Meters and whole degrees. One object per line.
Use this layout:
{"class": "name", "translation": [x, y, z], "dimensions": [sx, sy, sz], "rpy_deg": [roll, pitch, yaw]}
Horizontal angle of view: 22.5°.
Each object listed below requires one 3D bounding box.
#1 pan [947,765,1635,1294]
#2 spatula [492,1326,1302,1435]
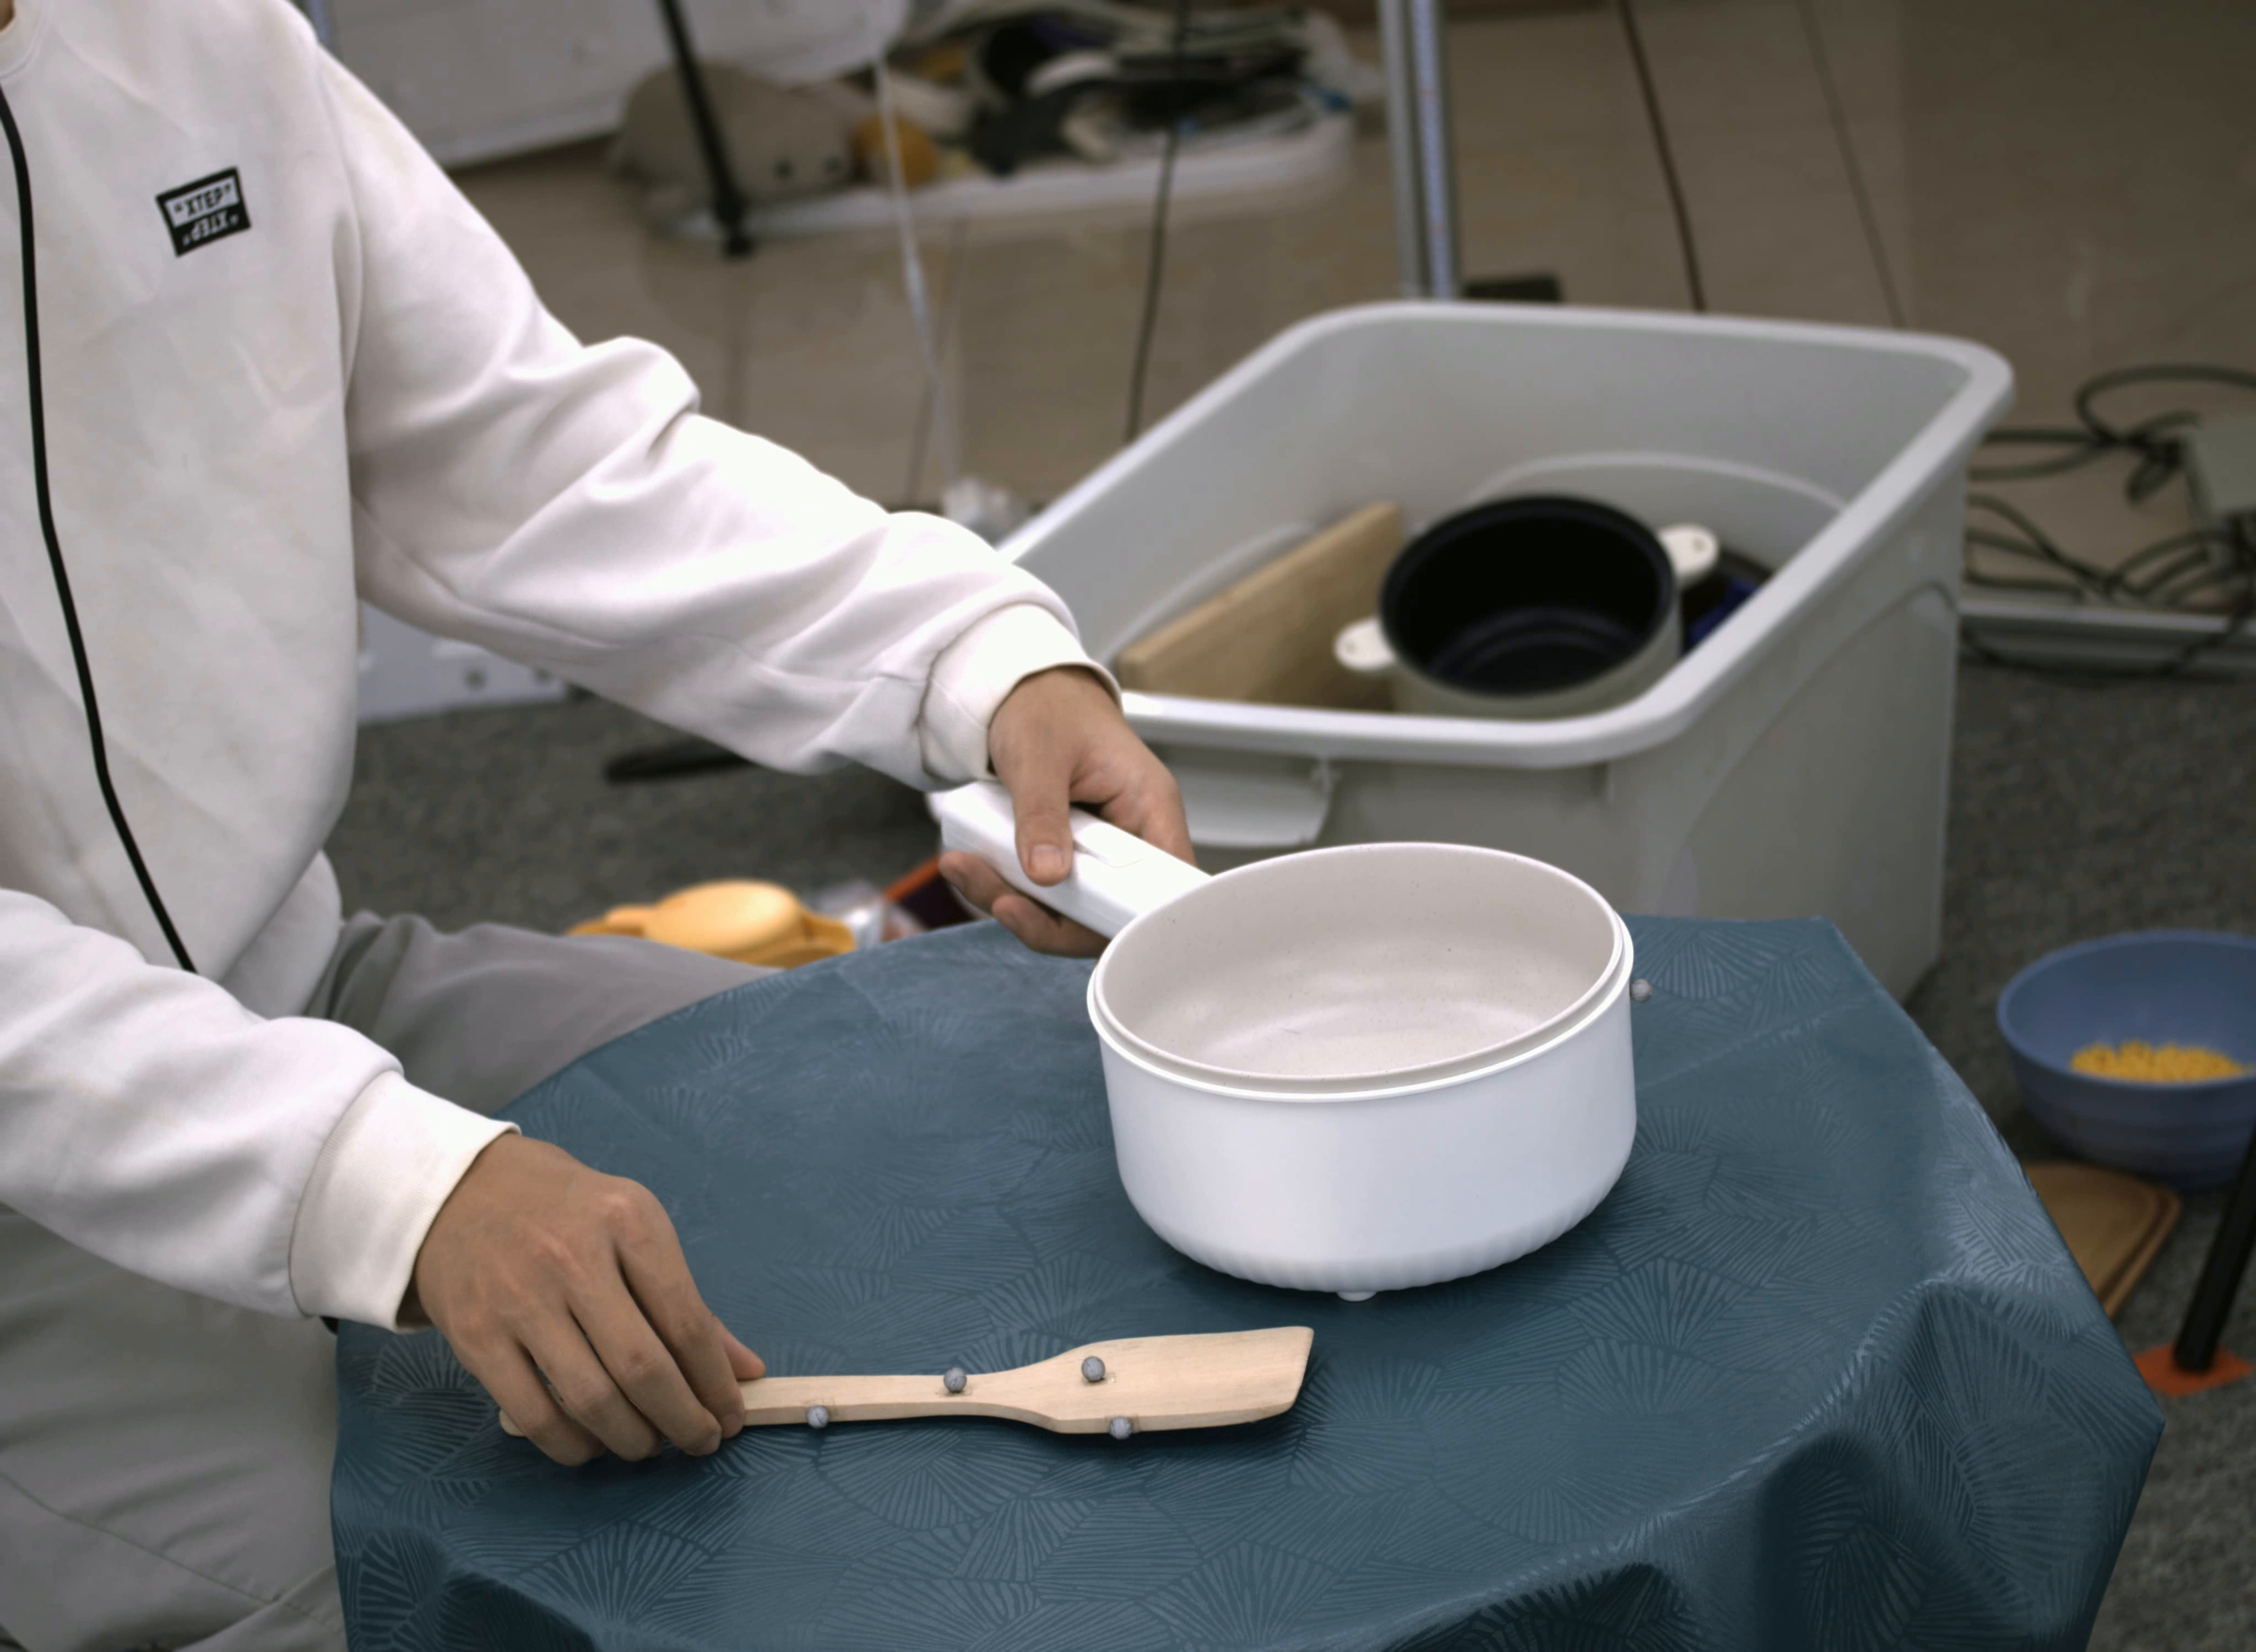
{"class": "pan", "translation": [0.045, 0.070, 2.159], "dimensions": [0.200, 0.103, 0.351], "rpy_deg": [-22, 28, -30]}
{"class": "spatula", "translation": [-0.084, 0.202, 2.017], "dimensions": [0.292, 0.011, 0.071], "rpy_deg": [-3, 20, 9]}
